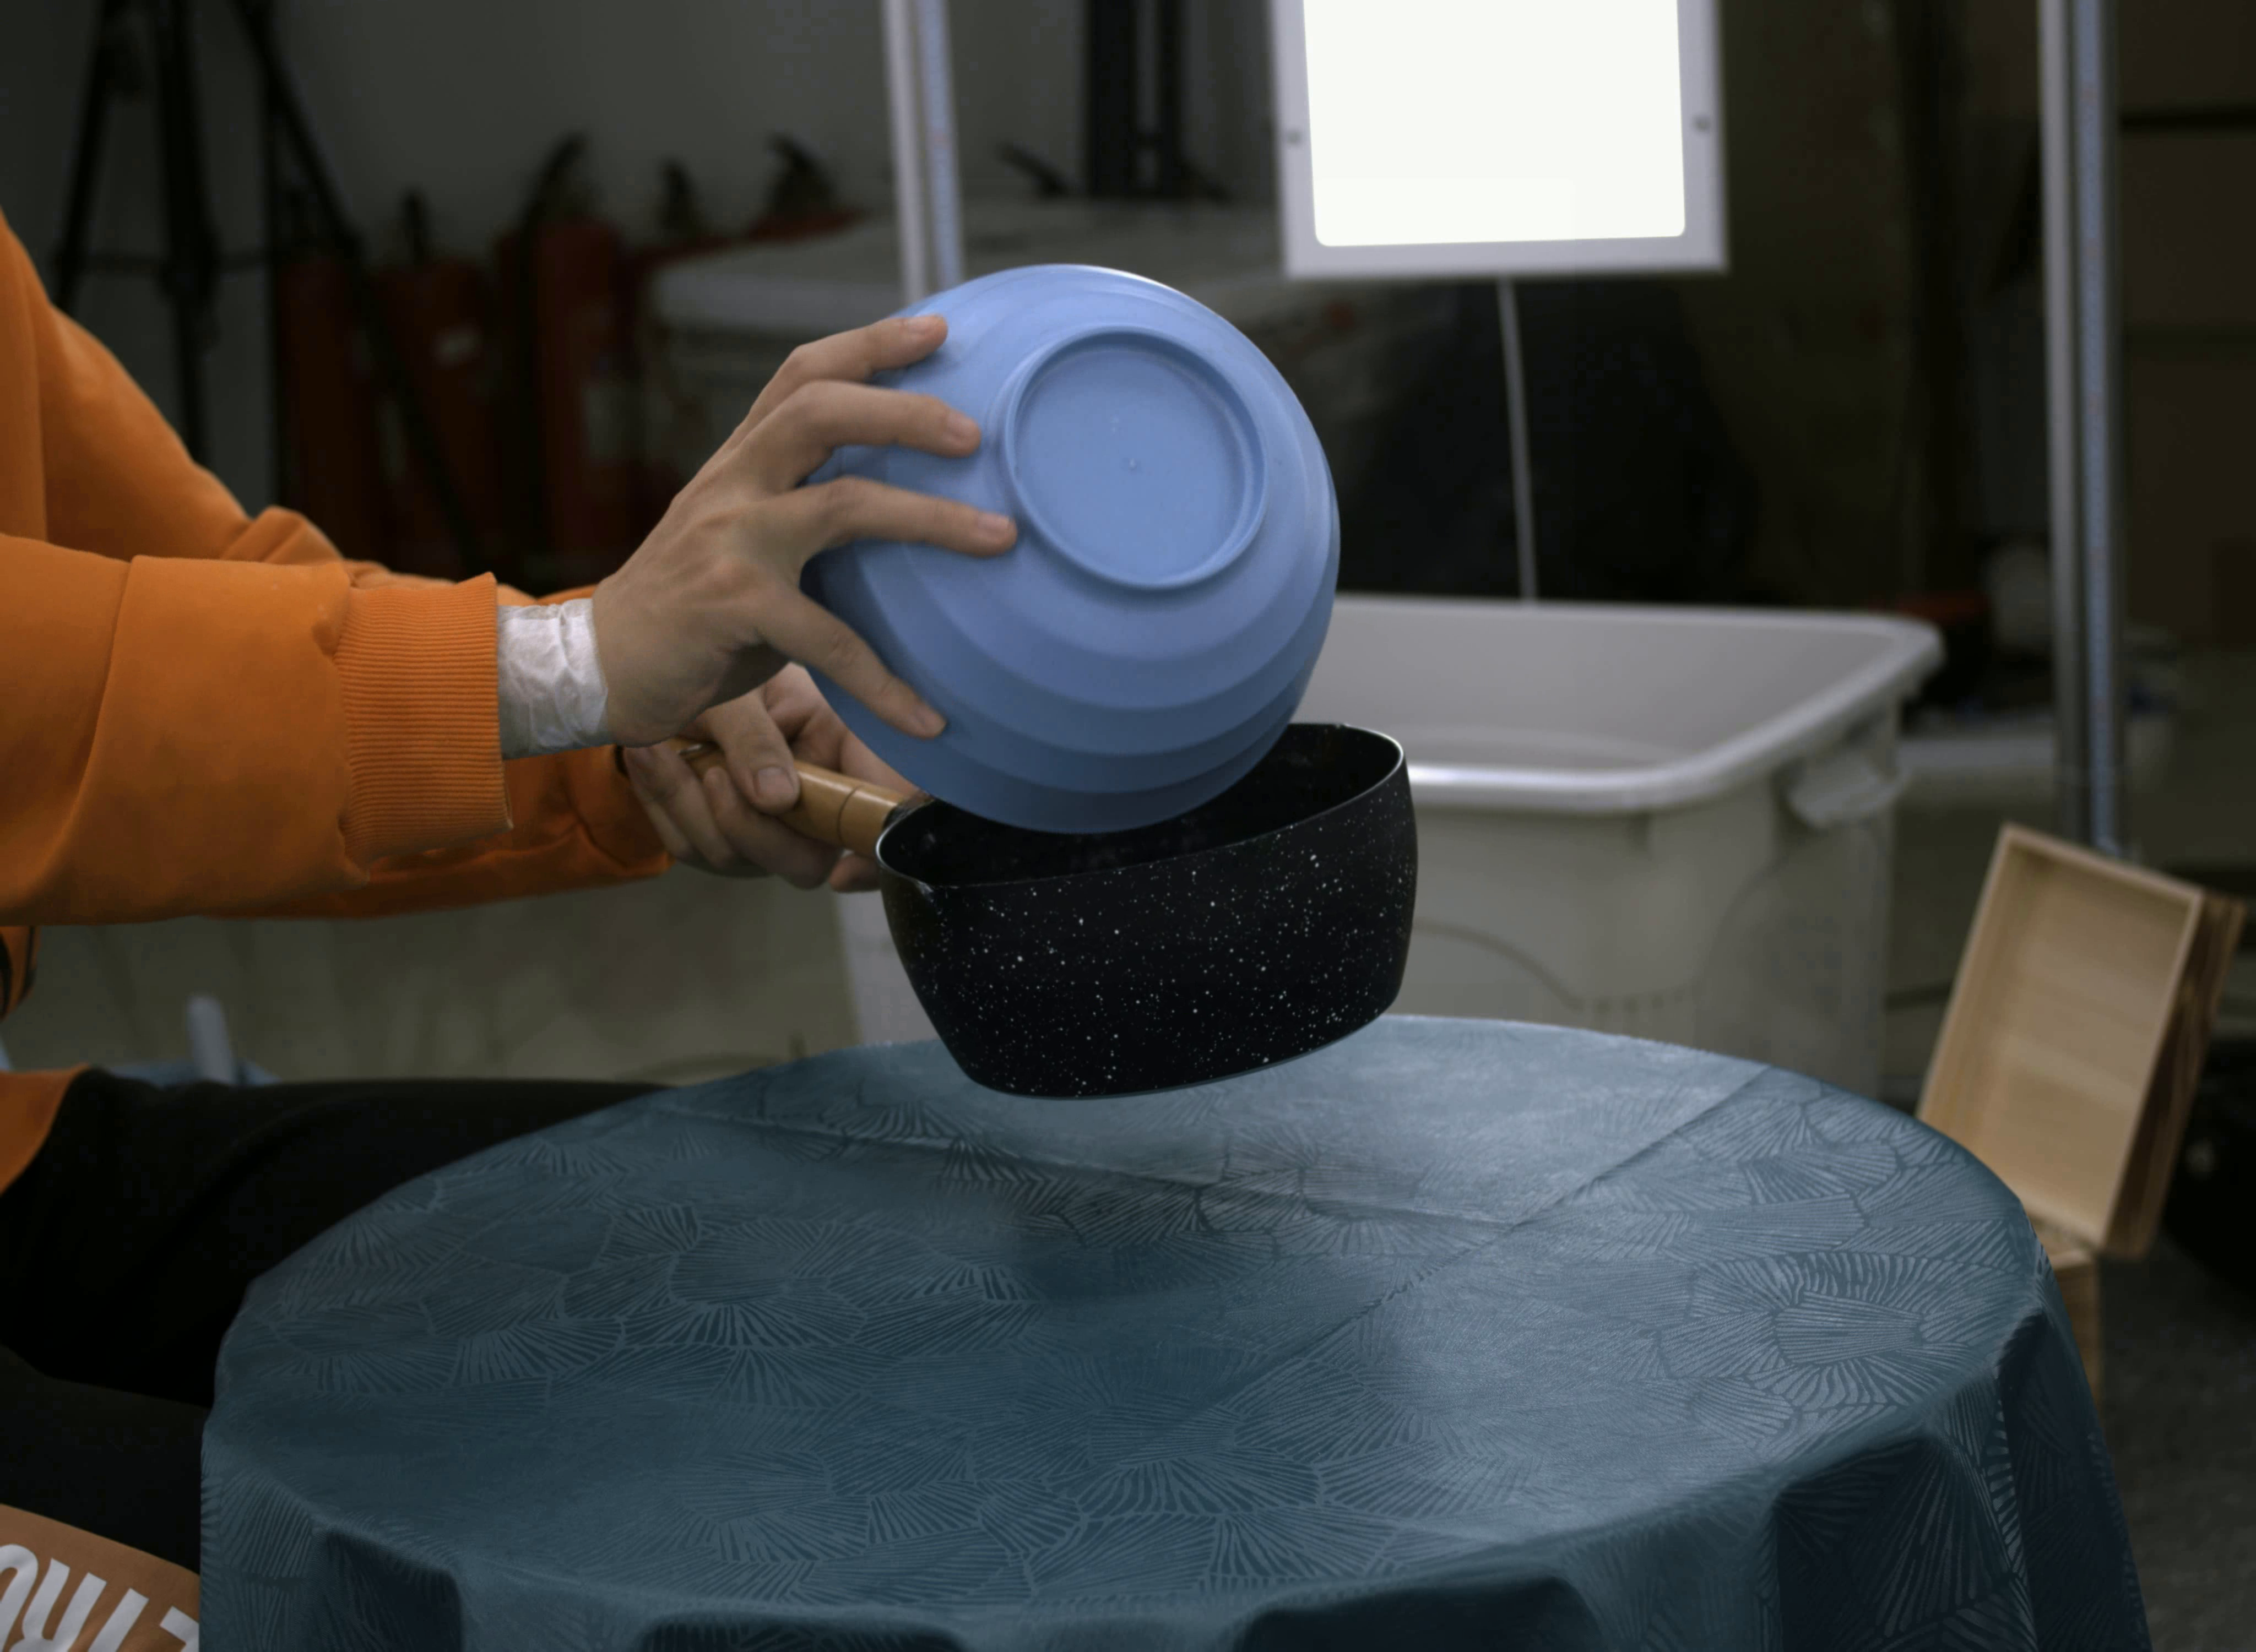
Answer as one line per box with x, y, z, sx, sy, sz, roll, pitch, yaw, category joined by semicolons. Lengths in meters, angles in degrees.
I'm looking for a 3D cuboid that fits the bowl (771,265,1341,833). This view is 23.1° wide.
-0.011;-0.106;1.806;0.193;0.197;0.097;-10;-17;-22;bowl

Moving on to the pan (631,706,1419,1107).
-0.049;0.017;1.924;0.350;0.108;0.202;3;20;44;pan
